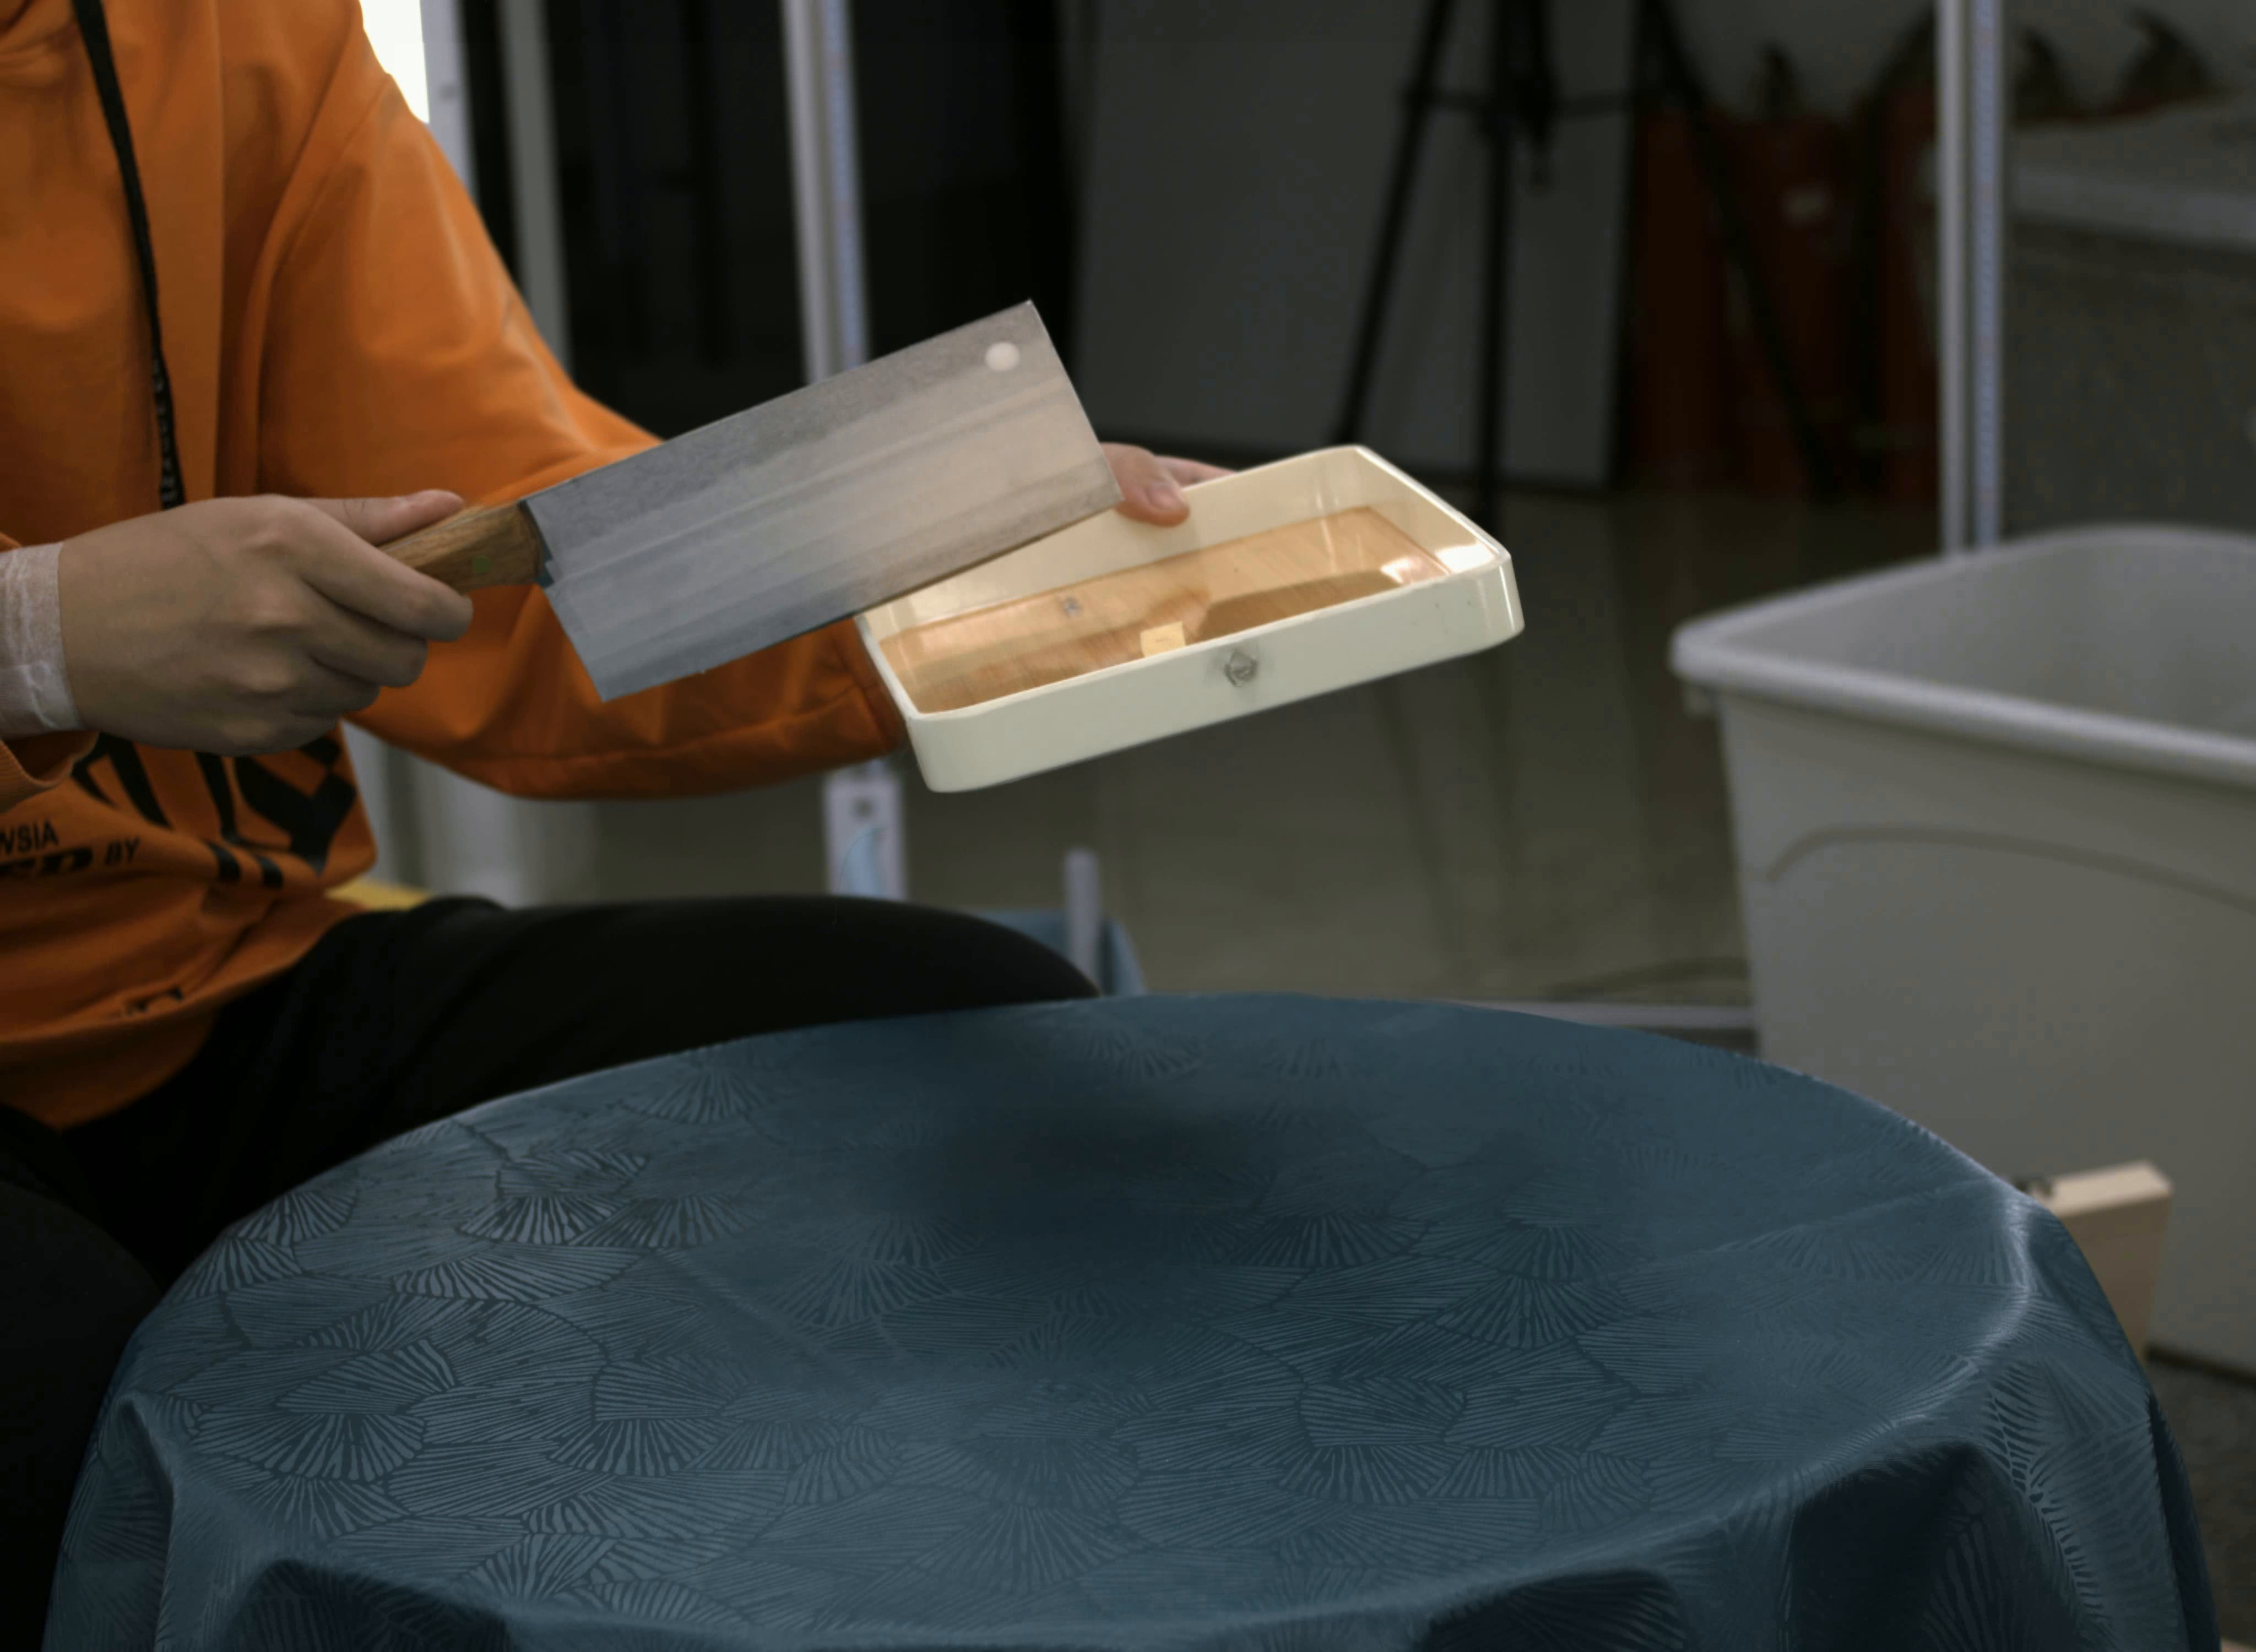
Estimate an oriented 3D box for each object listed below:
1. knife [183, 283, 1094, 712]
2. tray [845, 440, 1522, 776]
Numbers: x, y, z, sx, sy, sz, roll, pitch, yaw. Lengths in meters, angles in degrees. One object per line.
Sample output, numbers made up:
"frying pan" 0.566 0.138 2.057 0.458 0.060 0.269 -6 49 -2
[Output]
"knife" -0.157 -0.088 1.775 0.304 0.092 0.021 -22 37 8
"tray" 0.011 -0.073 1.738 0.189 0.027 0.301 -16 11 -3
